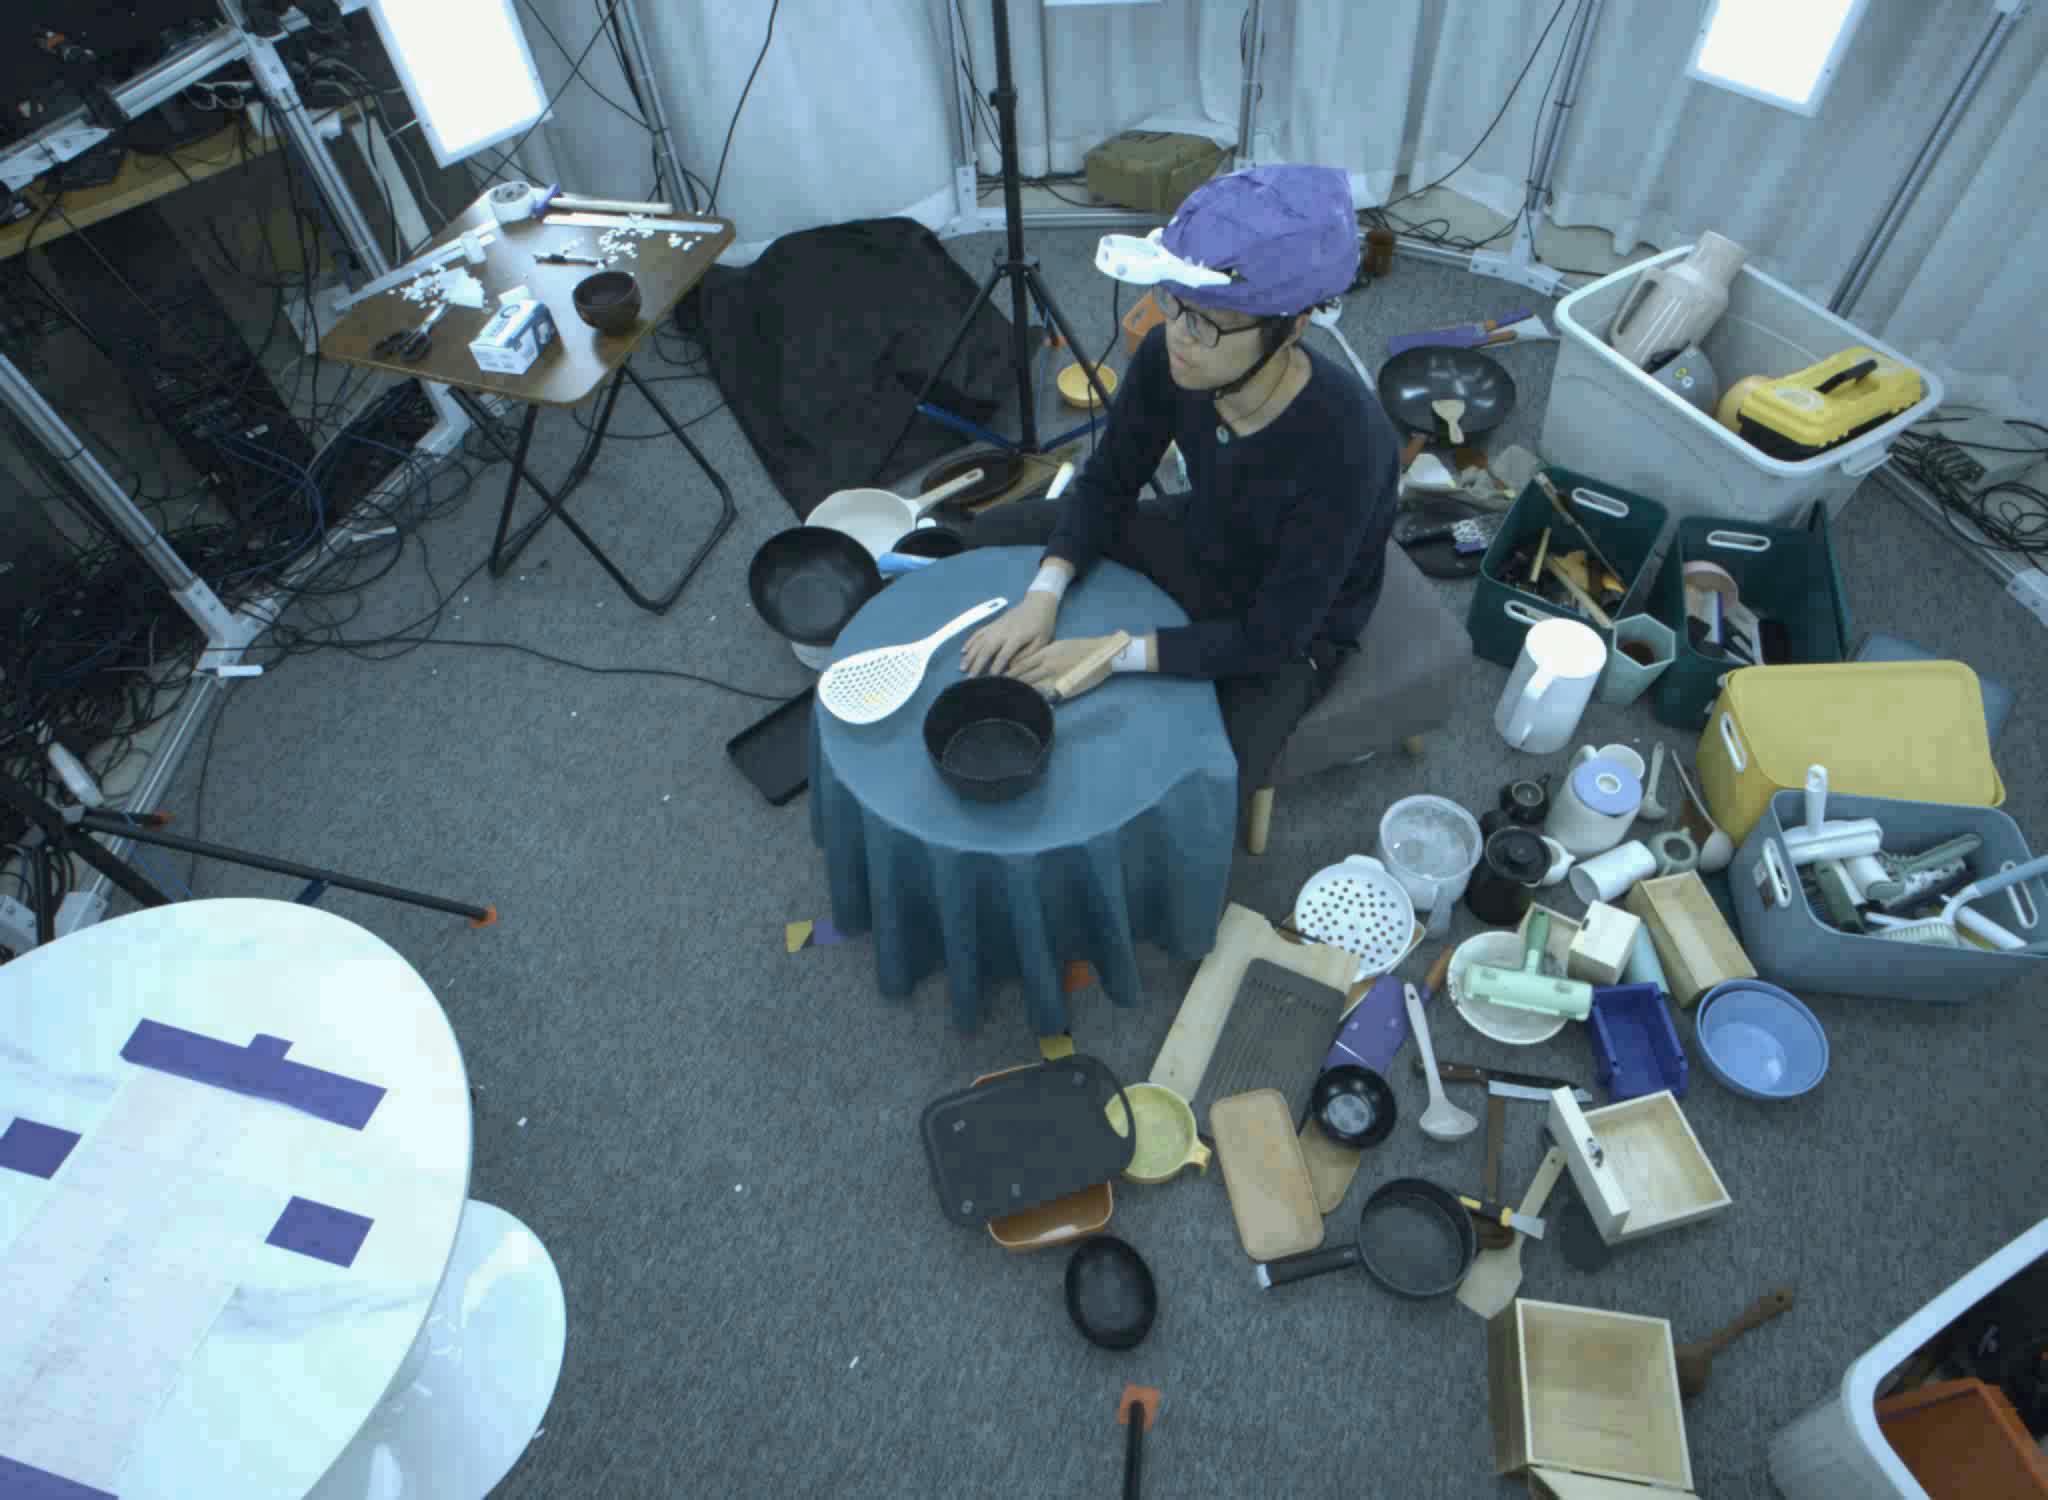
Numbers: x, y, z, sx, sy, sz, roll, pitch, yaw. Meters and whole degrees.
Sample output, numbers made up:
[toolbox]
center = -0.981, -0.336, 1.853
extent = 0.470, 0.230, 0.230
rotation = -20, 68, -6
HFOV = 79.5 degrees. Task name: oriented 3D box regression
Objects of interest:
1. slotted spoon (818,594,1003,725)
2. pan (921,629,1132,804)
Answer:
[slotted spoon]
center = -0.157, -0.149, 1.872
extent = 0.134, 0.051, 0.350
rotation = 38, 66, 27
[pan]
center = 0.015, -0.057, 1.760
extent = 0.345, 0.109, 0.203
rotation = -33, 59, -18
